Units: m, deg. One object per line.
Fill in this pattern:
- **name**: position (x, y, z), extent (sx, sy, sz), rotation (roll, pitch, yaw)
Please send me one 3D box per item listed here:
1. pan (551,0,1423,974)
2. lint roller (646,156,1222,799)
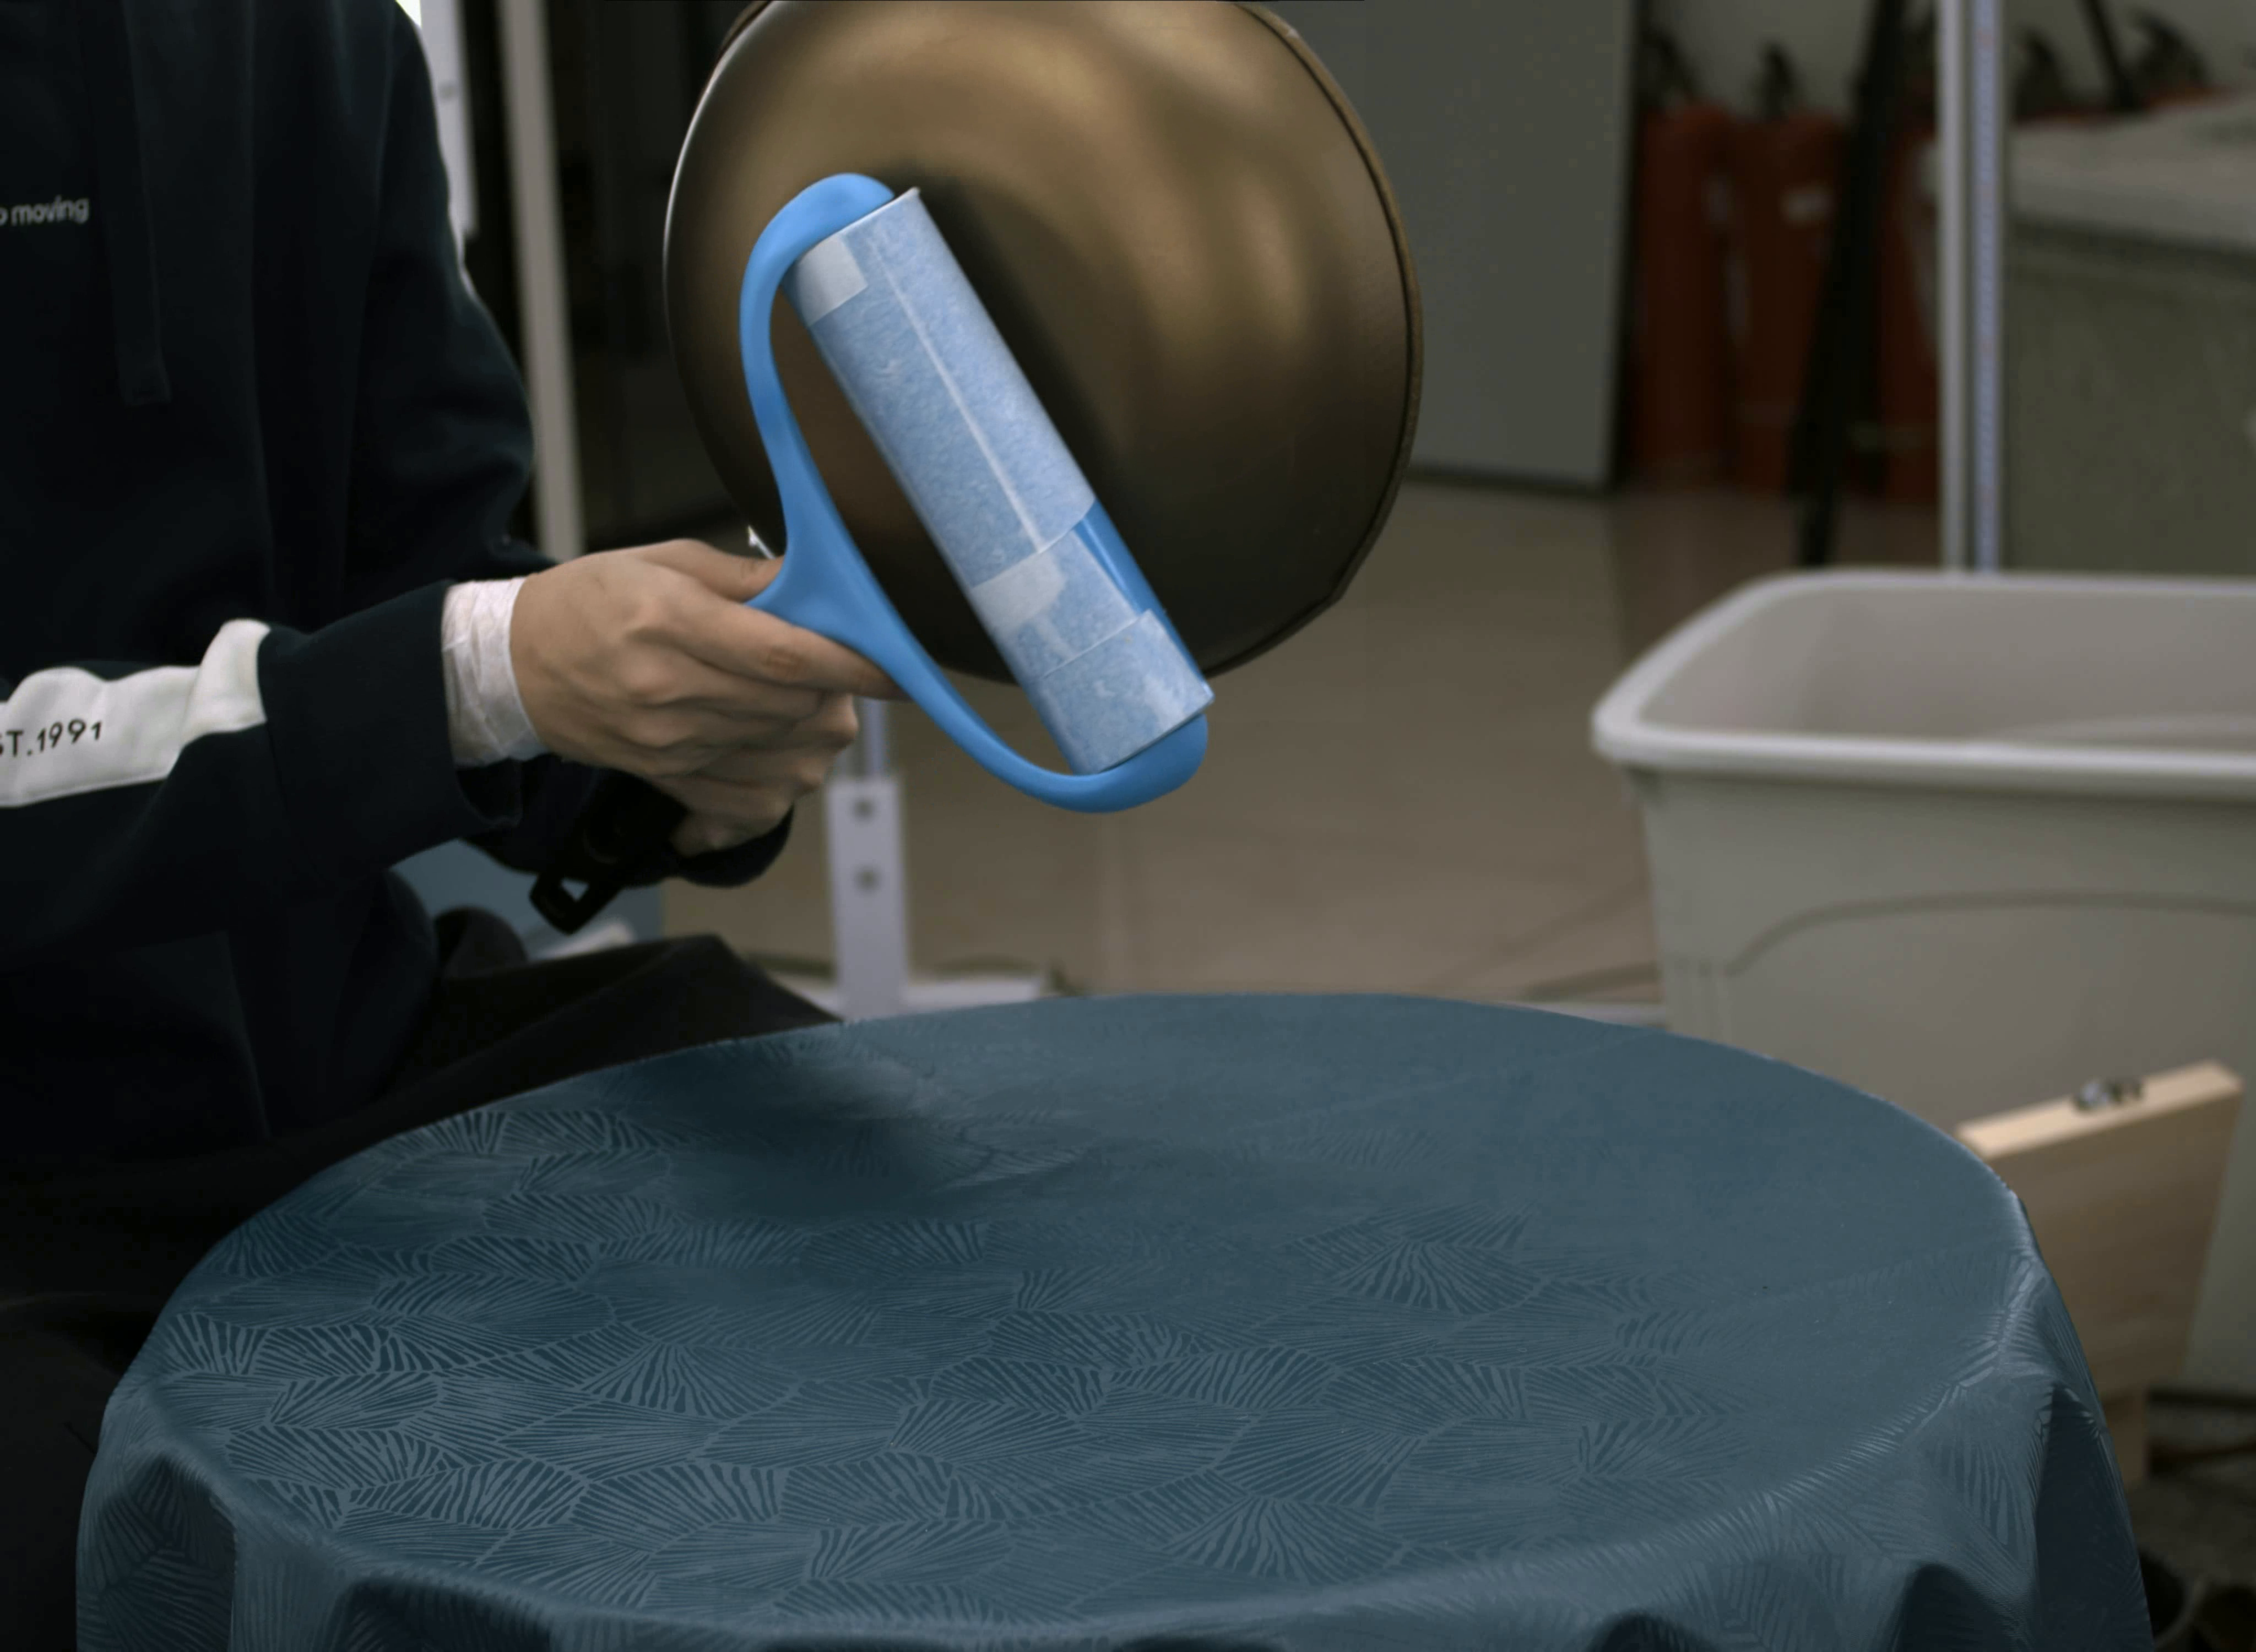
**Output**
- **pan**: position (-0.095, -0.109, 1.850), extent (0.288, 0.467, 0.086), rotation (43, 29, 7)
- **lint roller**: position (-0.089, -0.081, 1.762), extent (0.180, 0.229, 0.067), rotation (-34, 3, 17)
